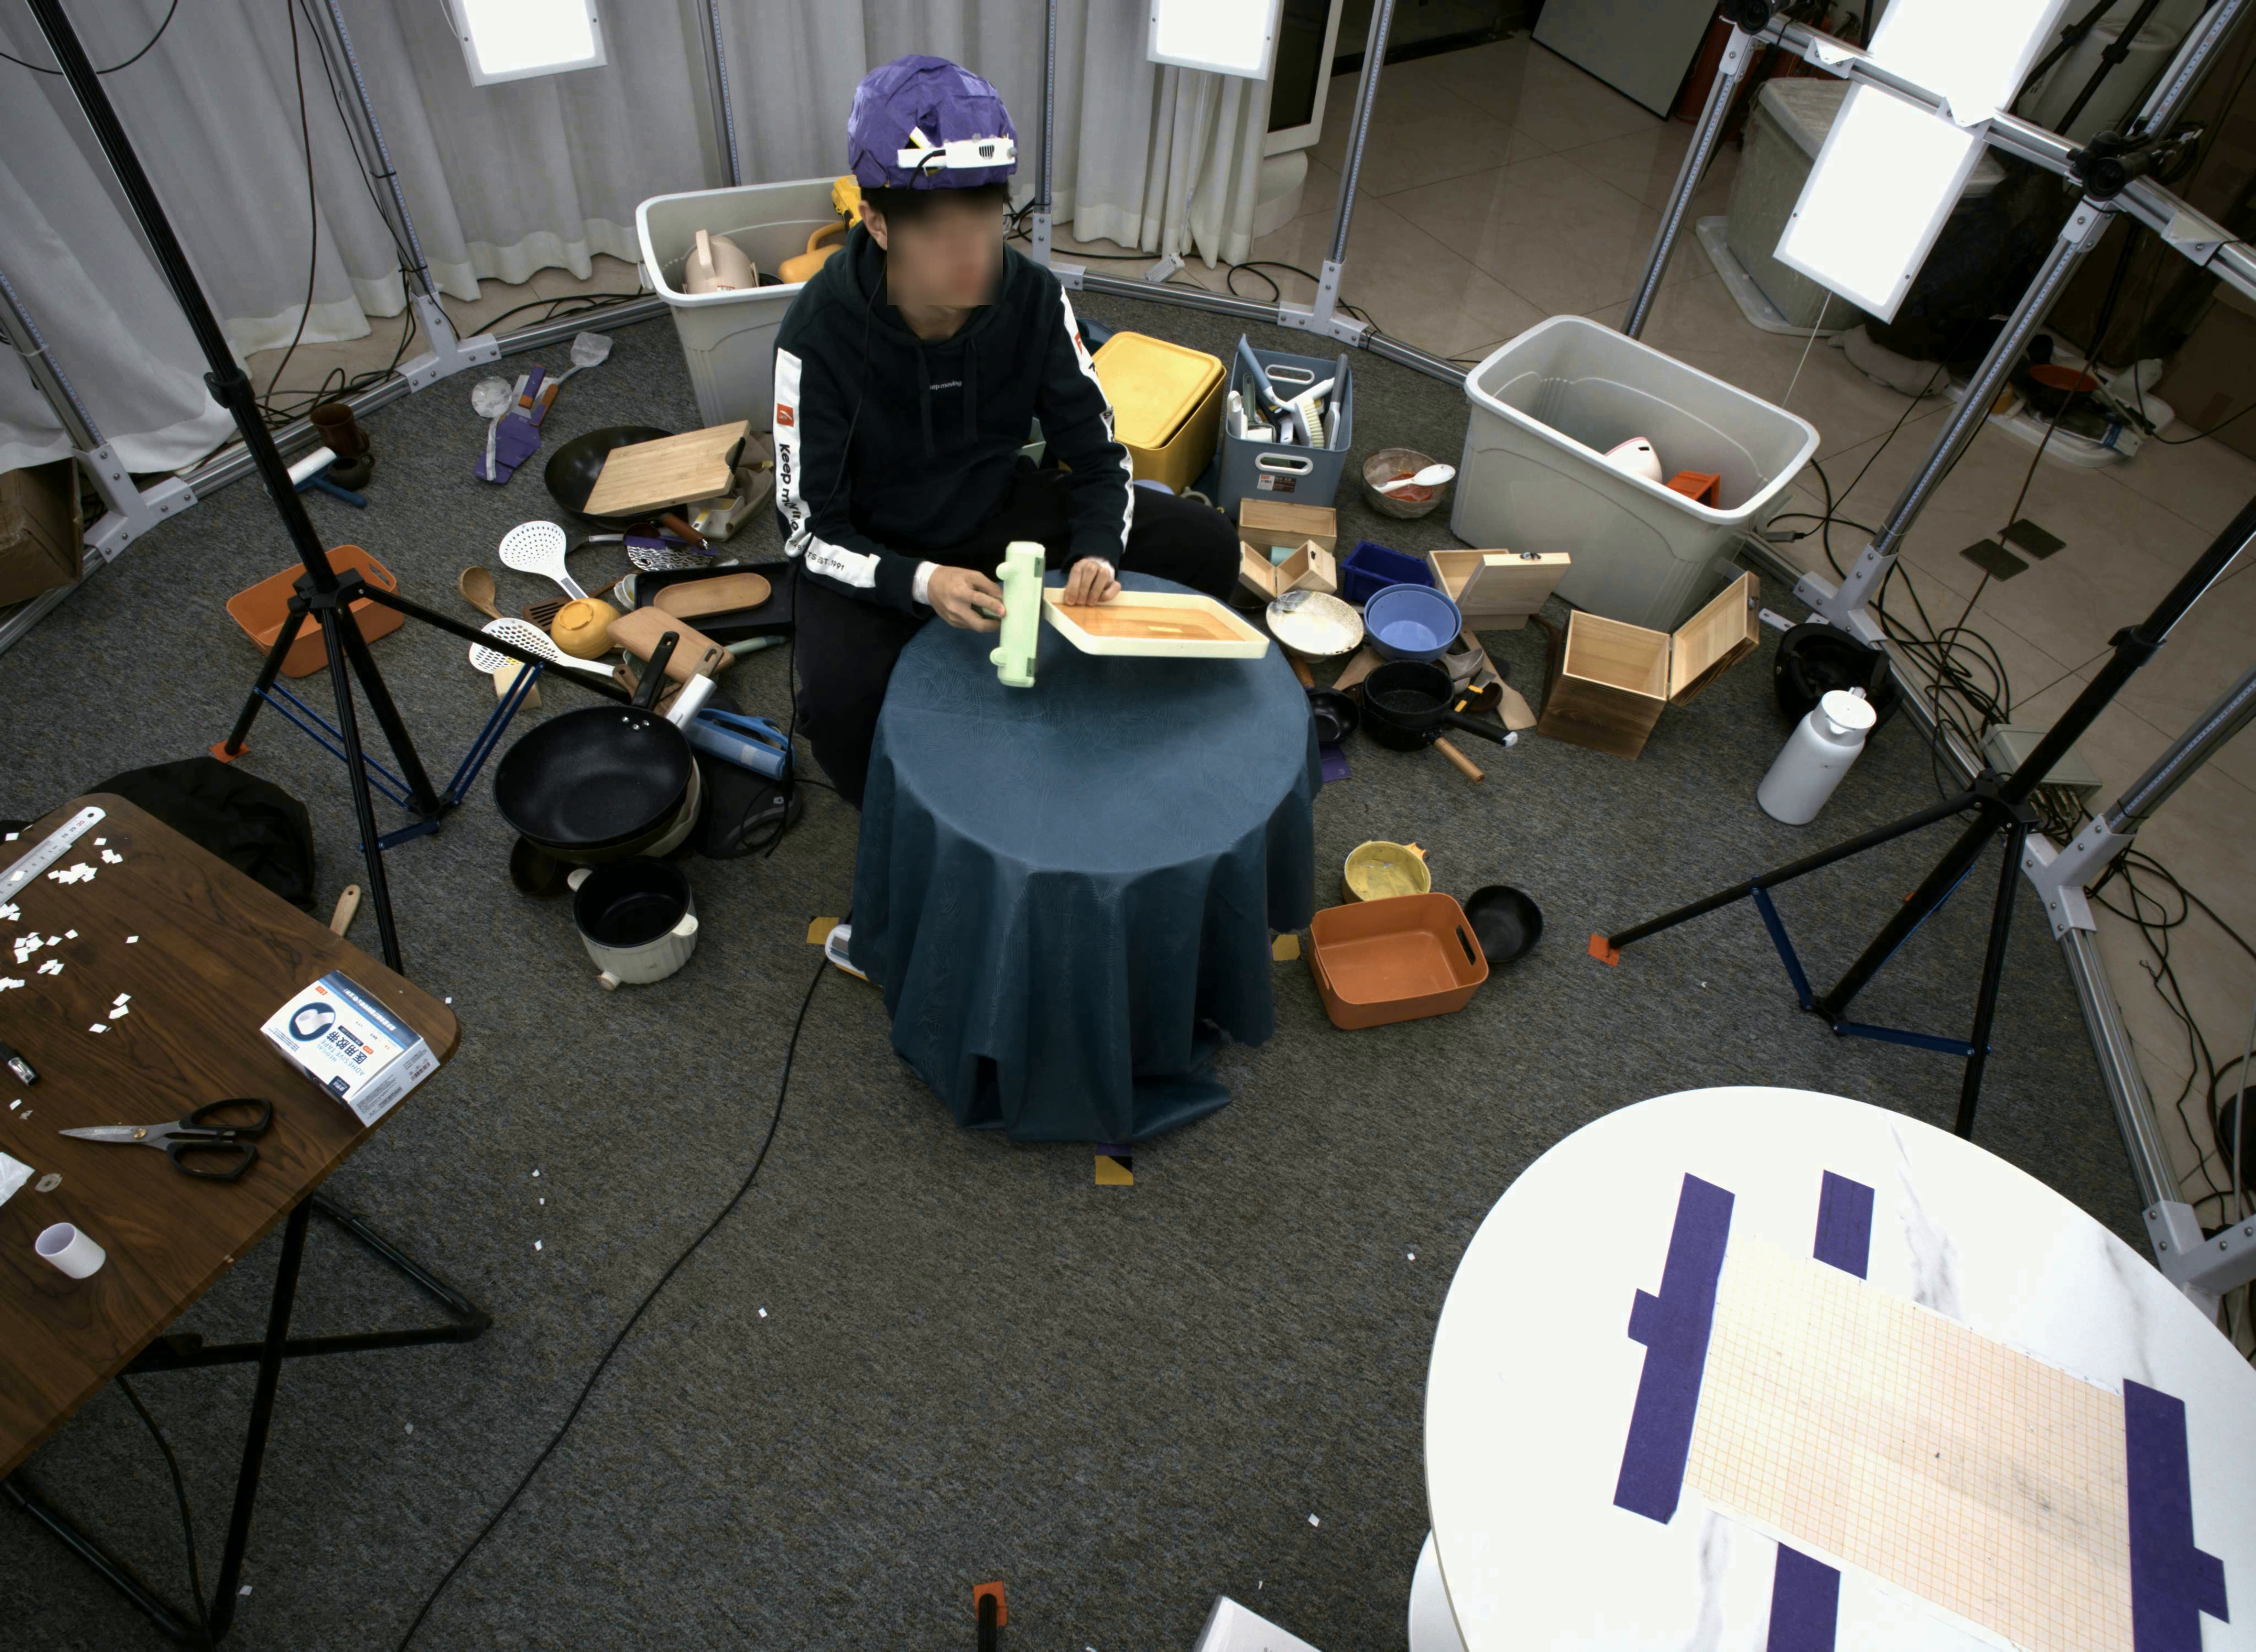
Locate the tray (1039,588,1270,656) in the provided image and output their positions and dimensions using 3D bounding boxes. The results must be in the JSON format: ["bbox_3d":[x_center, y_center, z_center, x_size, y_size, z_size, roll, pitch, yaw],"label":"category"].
[{"bbox_3d":[0.032,-0.287,1.816,0.299,0.027,0.195,-3,29,-29],"label":"tray"}]

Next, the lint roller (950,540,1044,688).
[{"bbox_3d":[-0.196,-0.303,1.798,0.185,0.196,0.082,14,17,32],"label":"lint roller"}]
